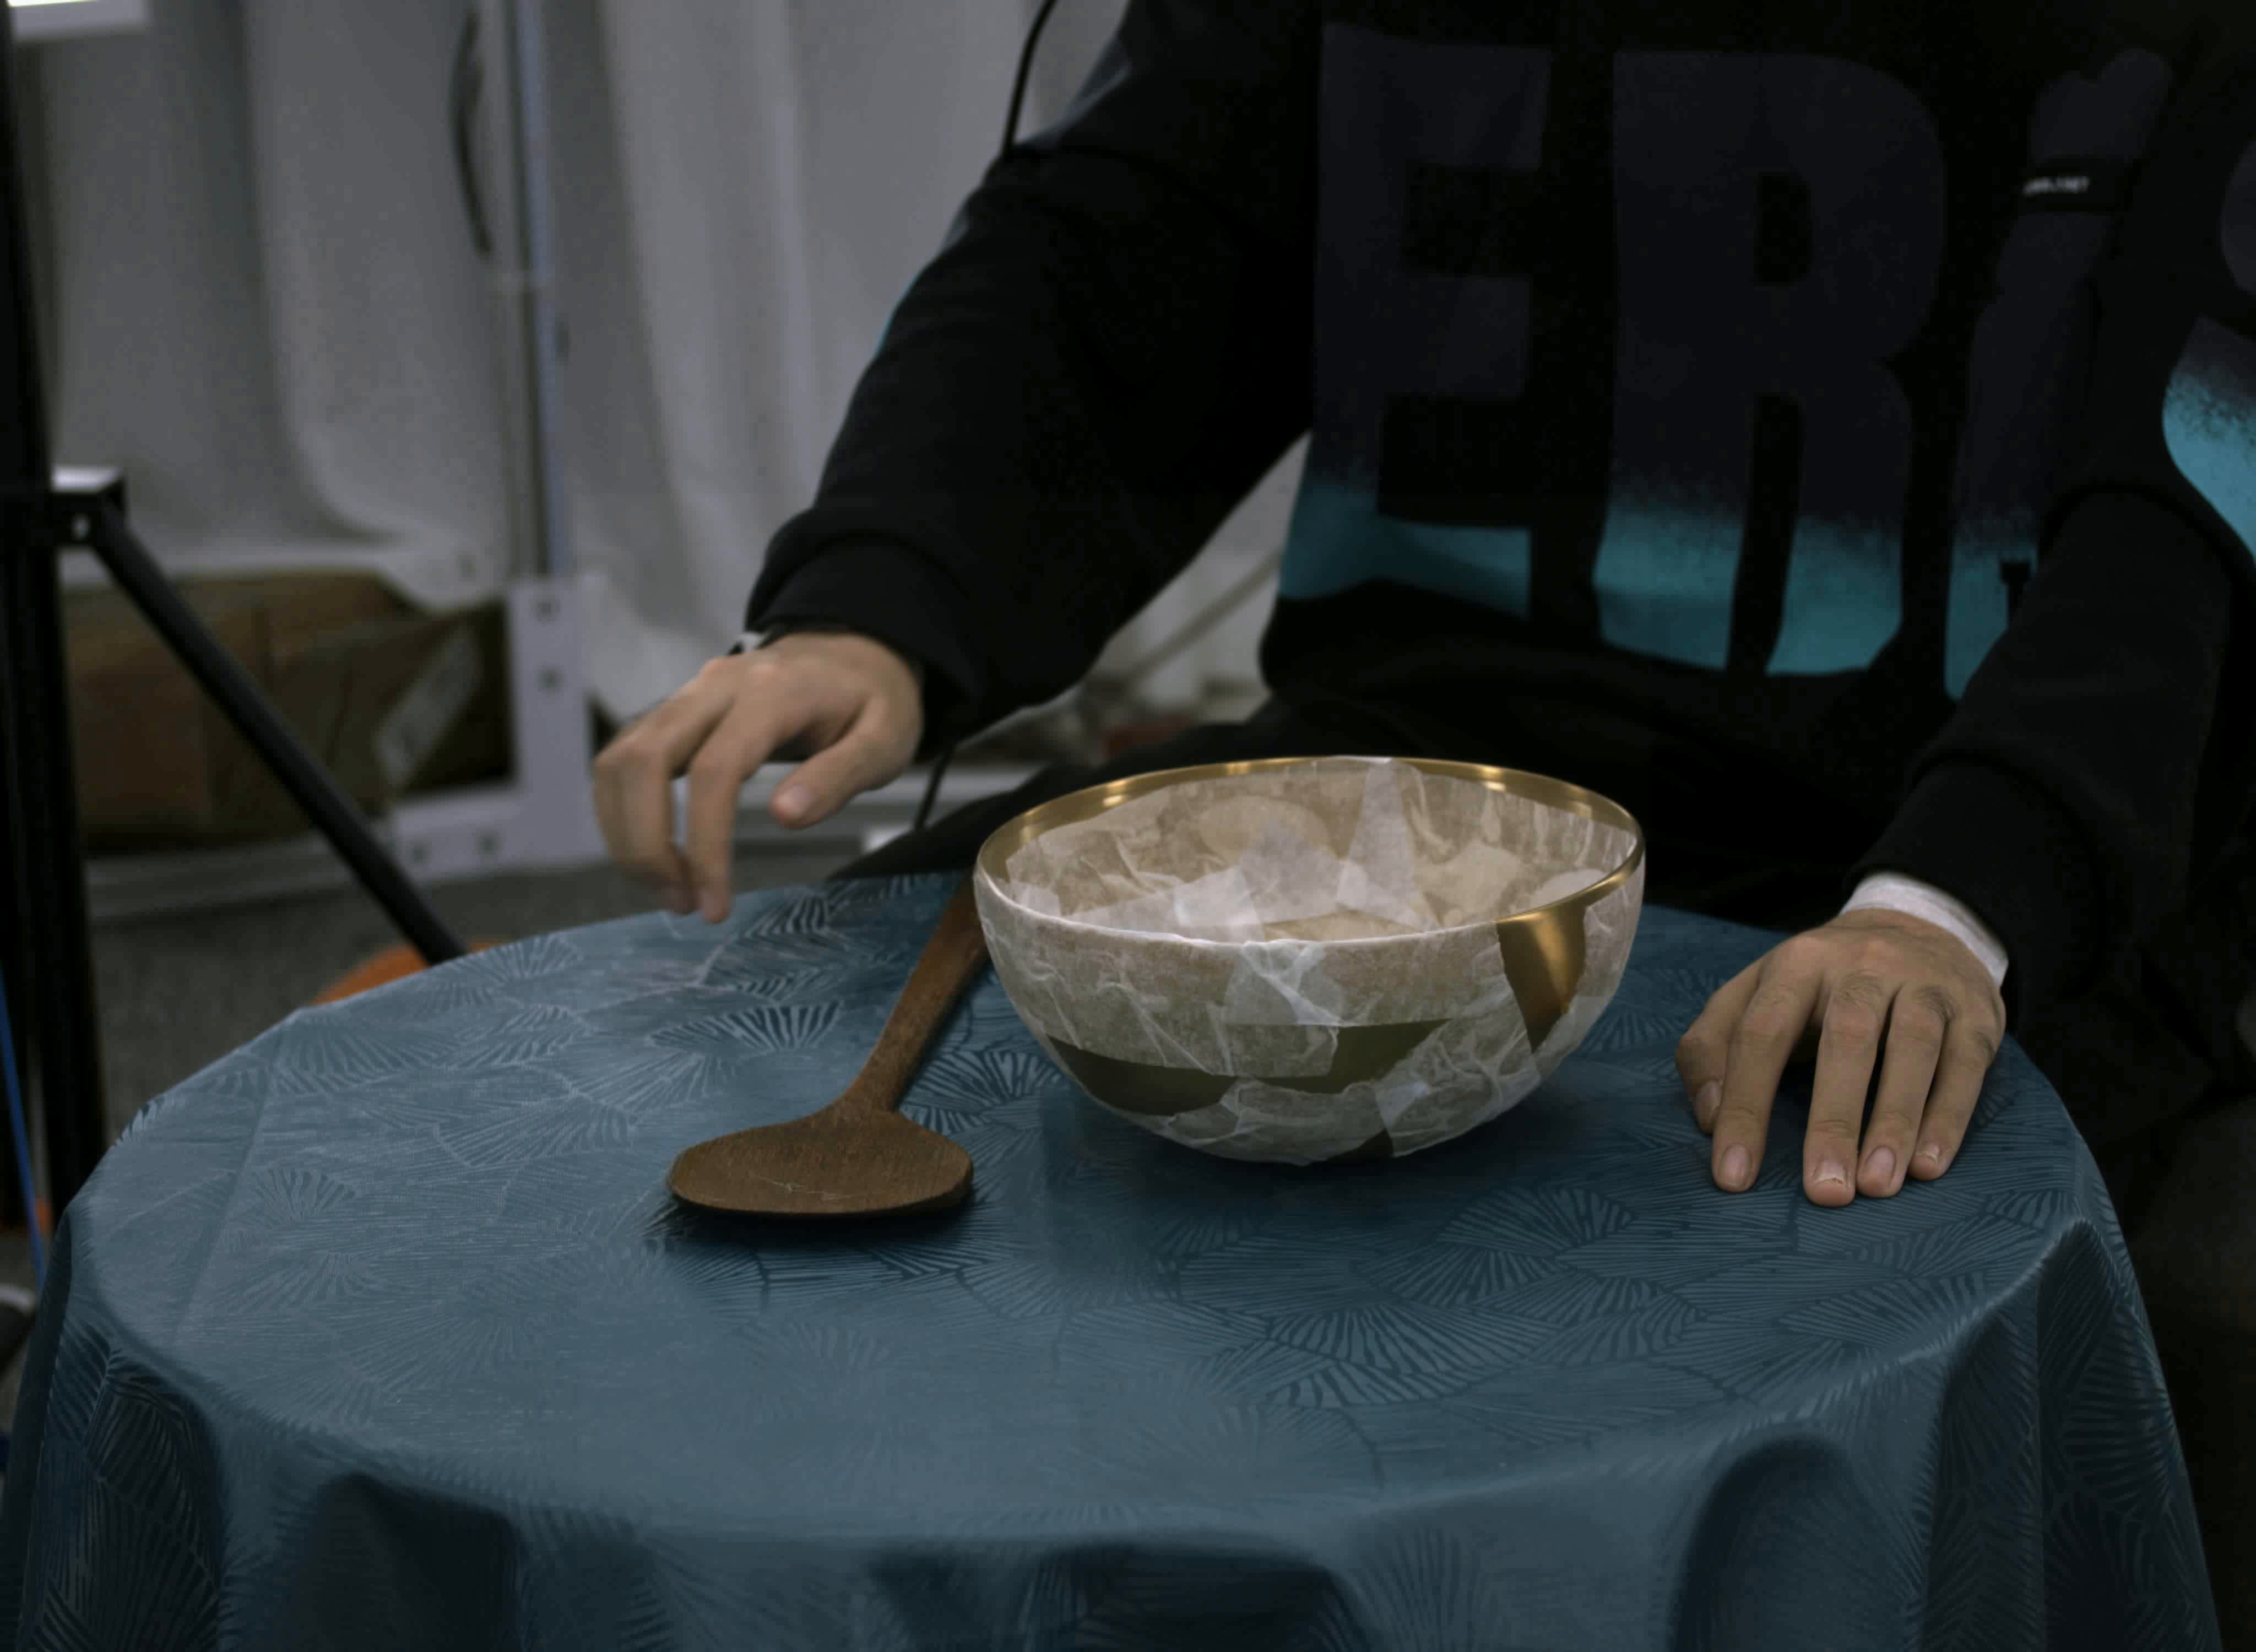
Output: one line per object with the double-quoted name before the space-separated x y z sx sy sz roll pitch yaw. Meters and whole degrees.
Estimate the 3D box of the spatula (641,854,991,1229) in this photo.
"spatula" -0.069 0.063 1.703 0.096 0.016 0.384 0 16 9

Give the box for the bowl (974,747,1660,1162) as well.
"bowl" 0.059 0.046 1.592 0.213 0.094 0.216 -4 15 0
